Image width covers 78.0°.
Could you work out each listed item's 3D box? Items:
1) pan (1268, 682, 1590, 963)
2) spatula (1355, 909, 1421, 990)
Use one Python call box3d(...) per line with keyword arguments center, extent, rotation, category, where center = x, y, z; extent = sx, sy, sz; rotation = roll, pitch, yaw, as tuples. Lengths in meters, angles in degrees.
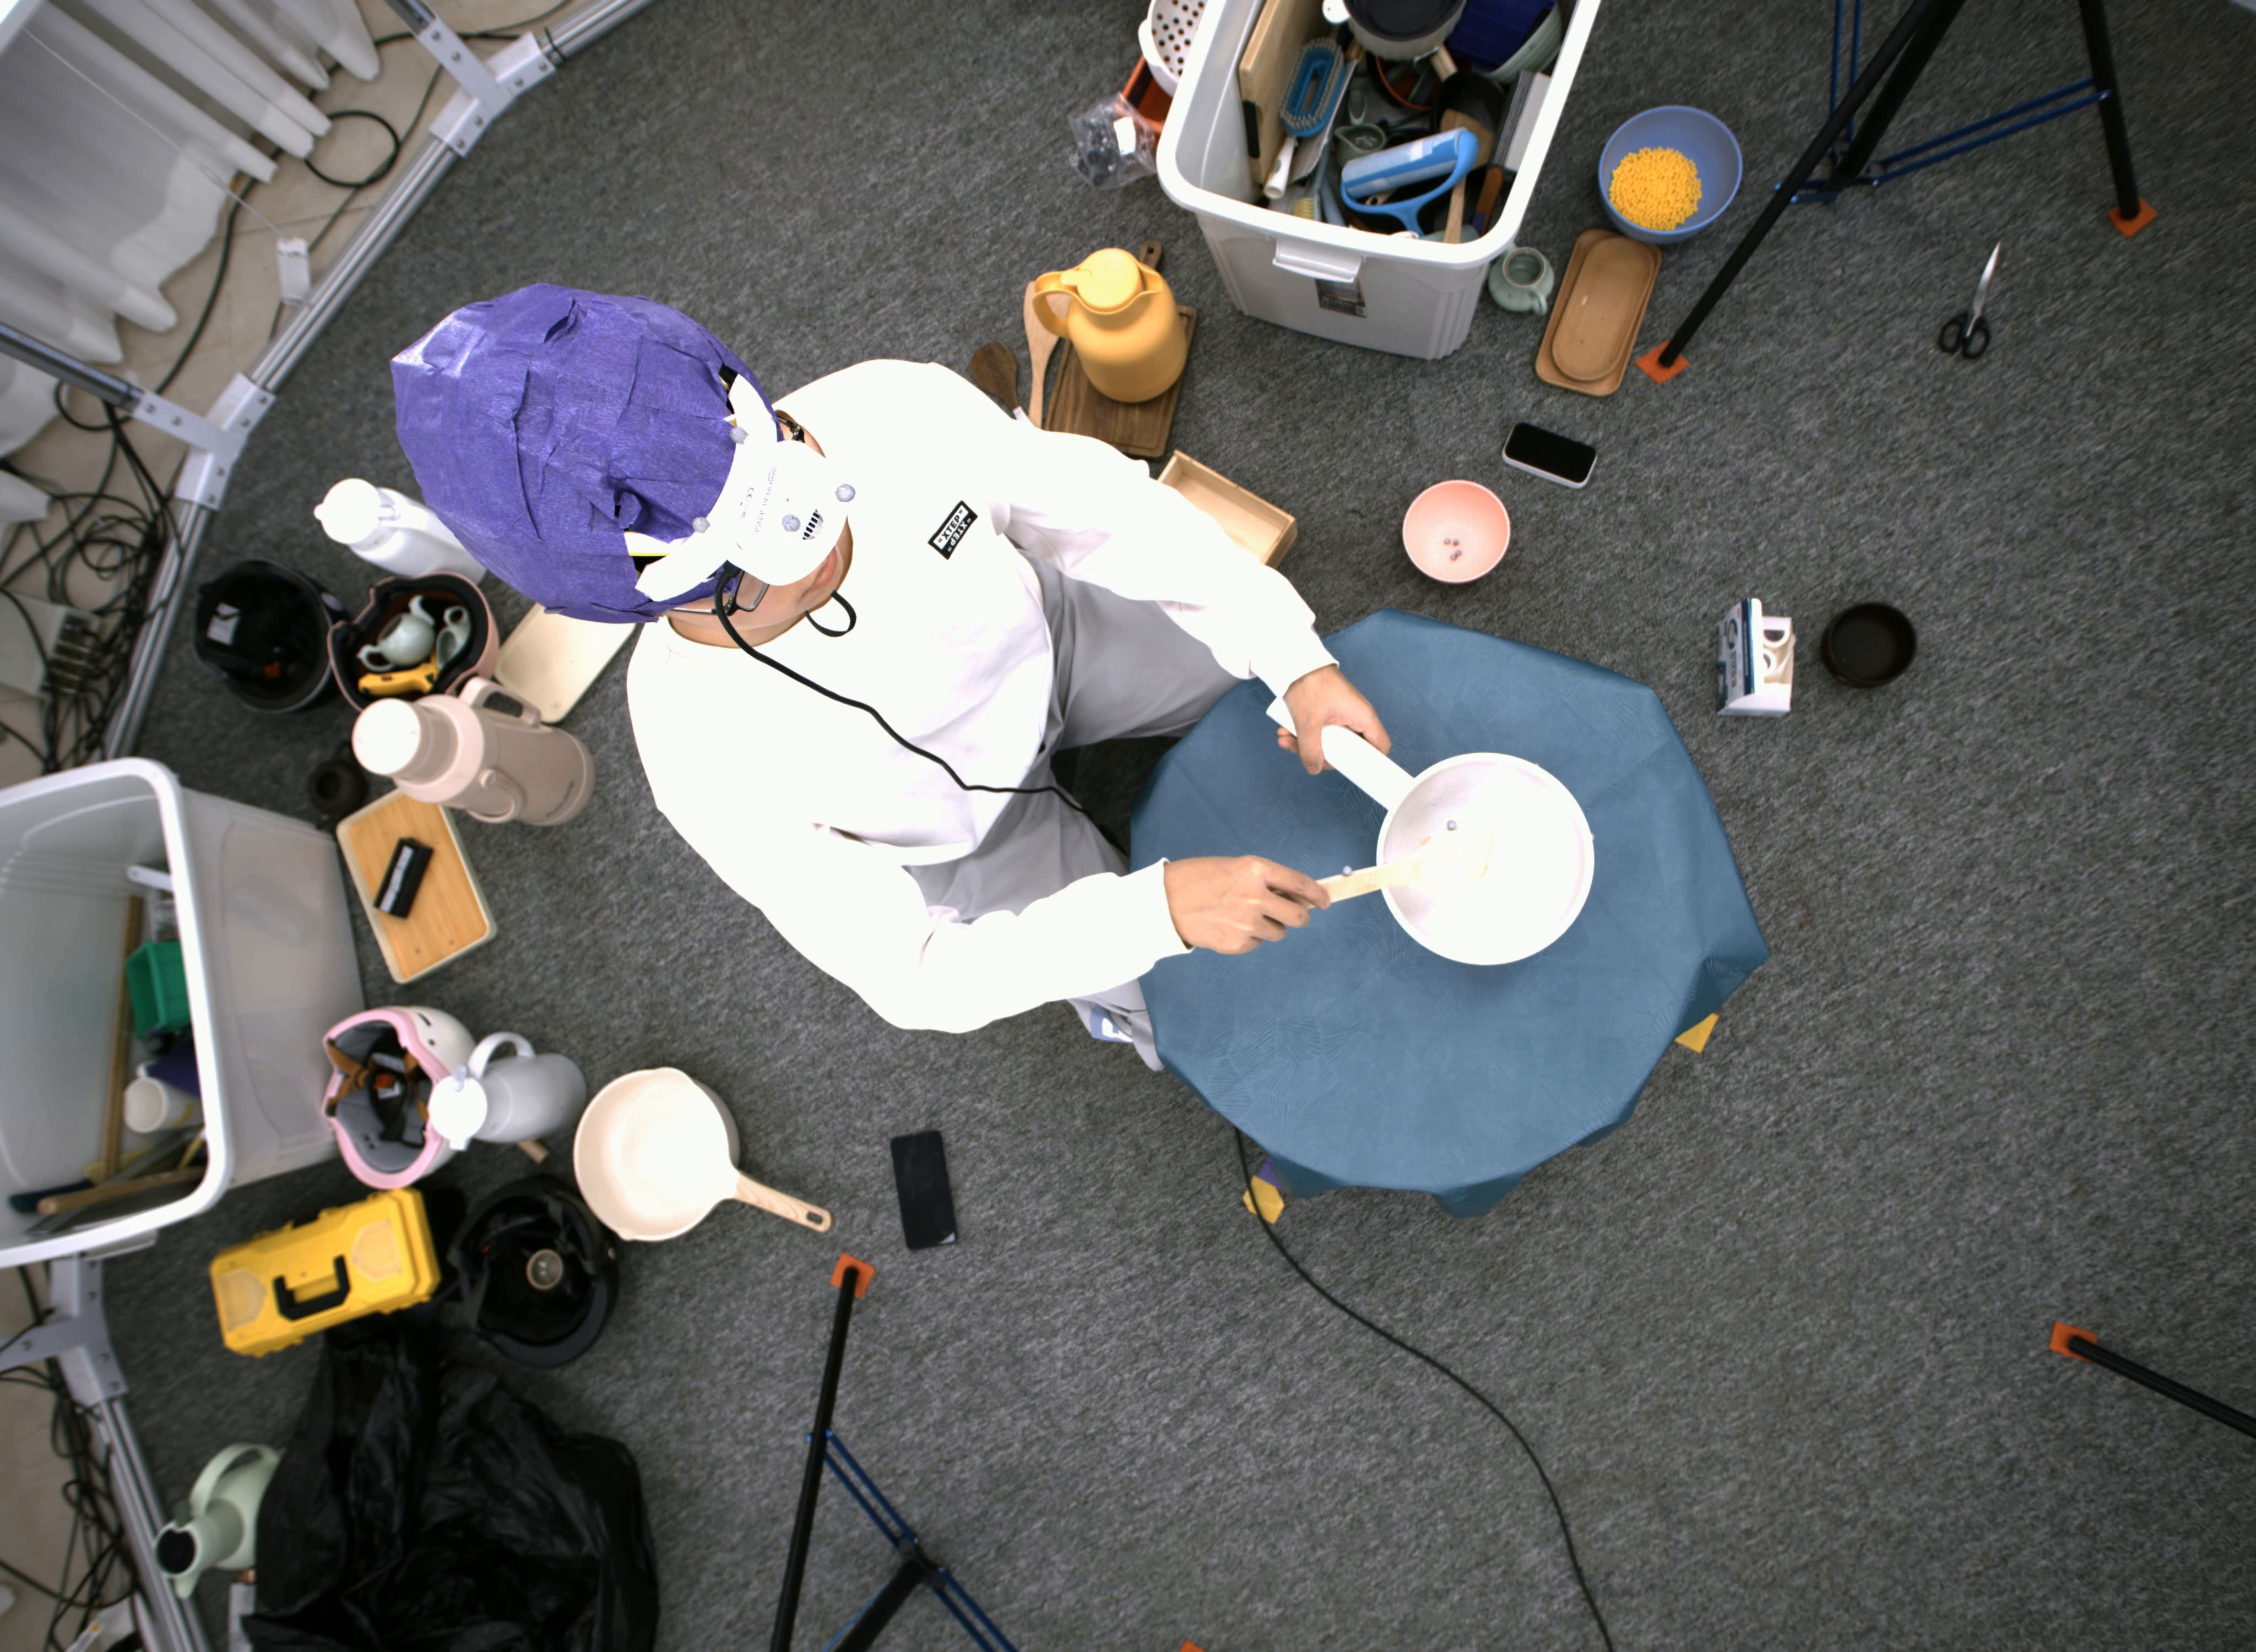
box3d(center=(0.291, -0.017, 1.373), extent=(0.353, 0.101, 0.203), rotation=(40, 100, 12), category="pan")
box3d(center=(0.420, 0.091, 1.986), extent=(0.072, 0.010, 0.293), rotation=(28, 92, 13), category="spatula")
